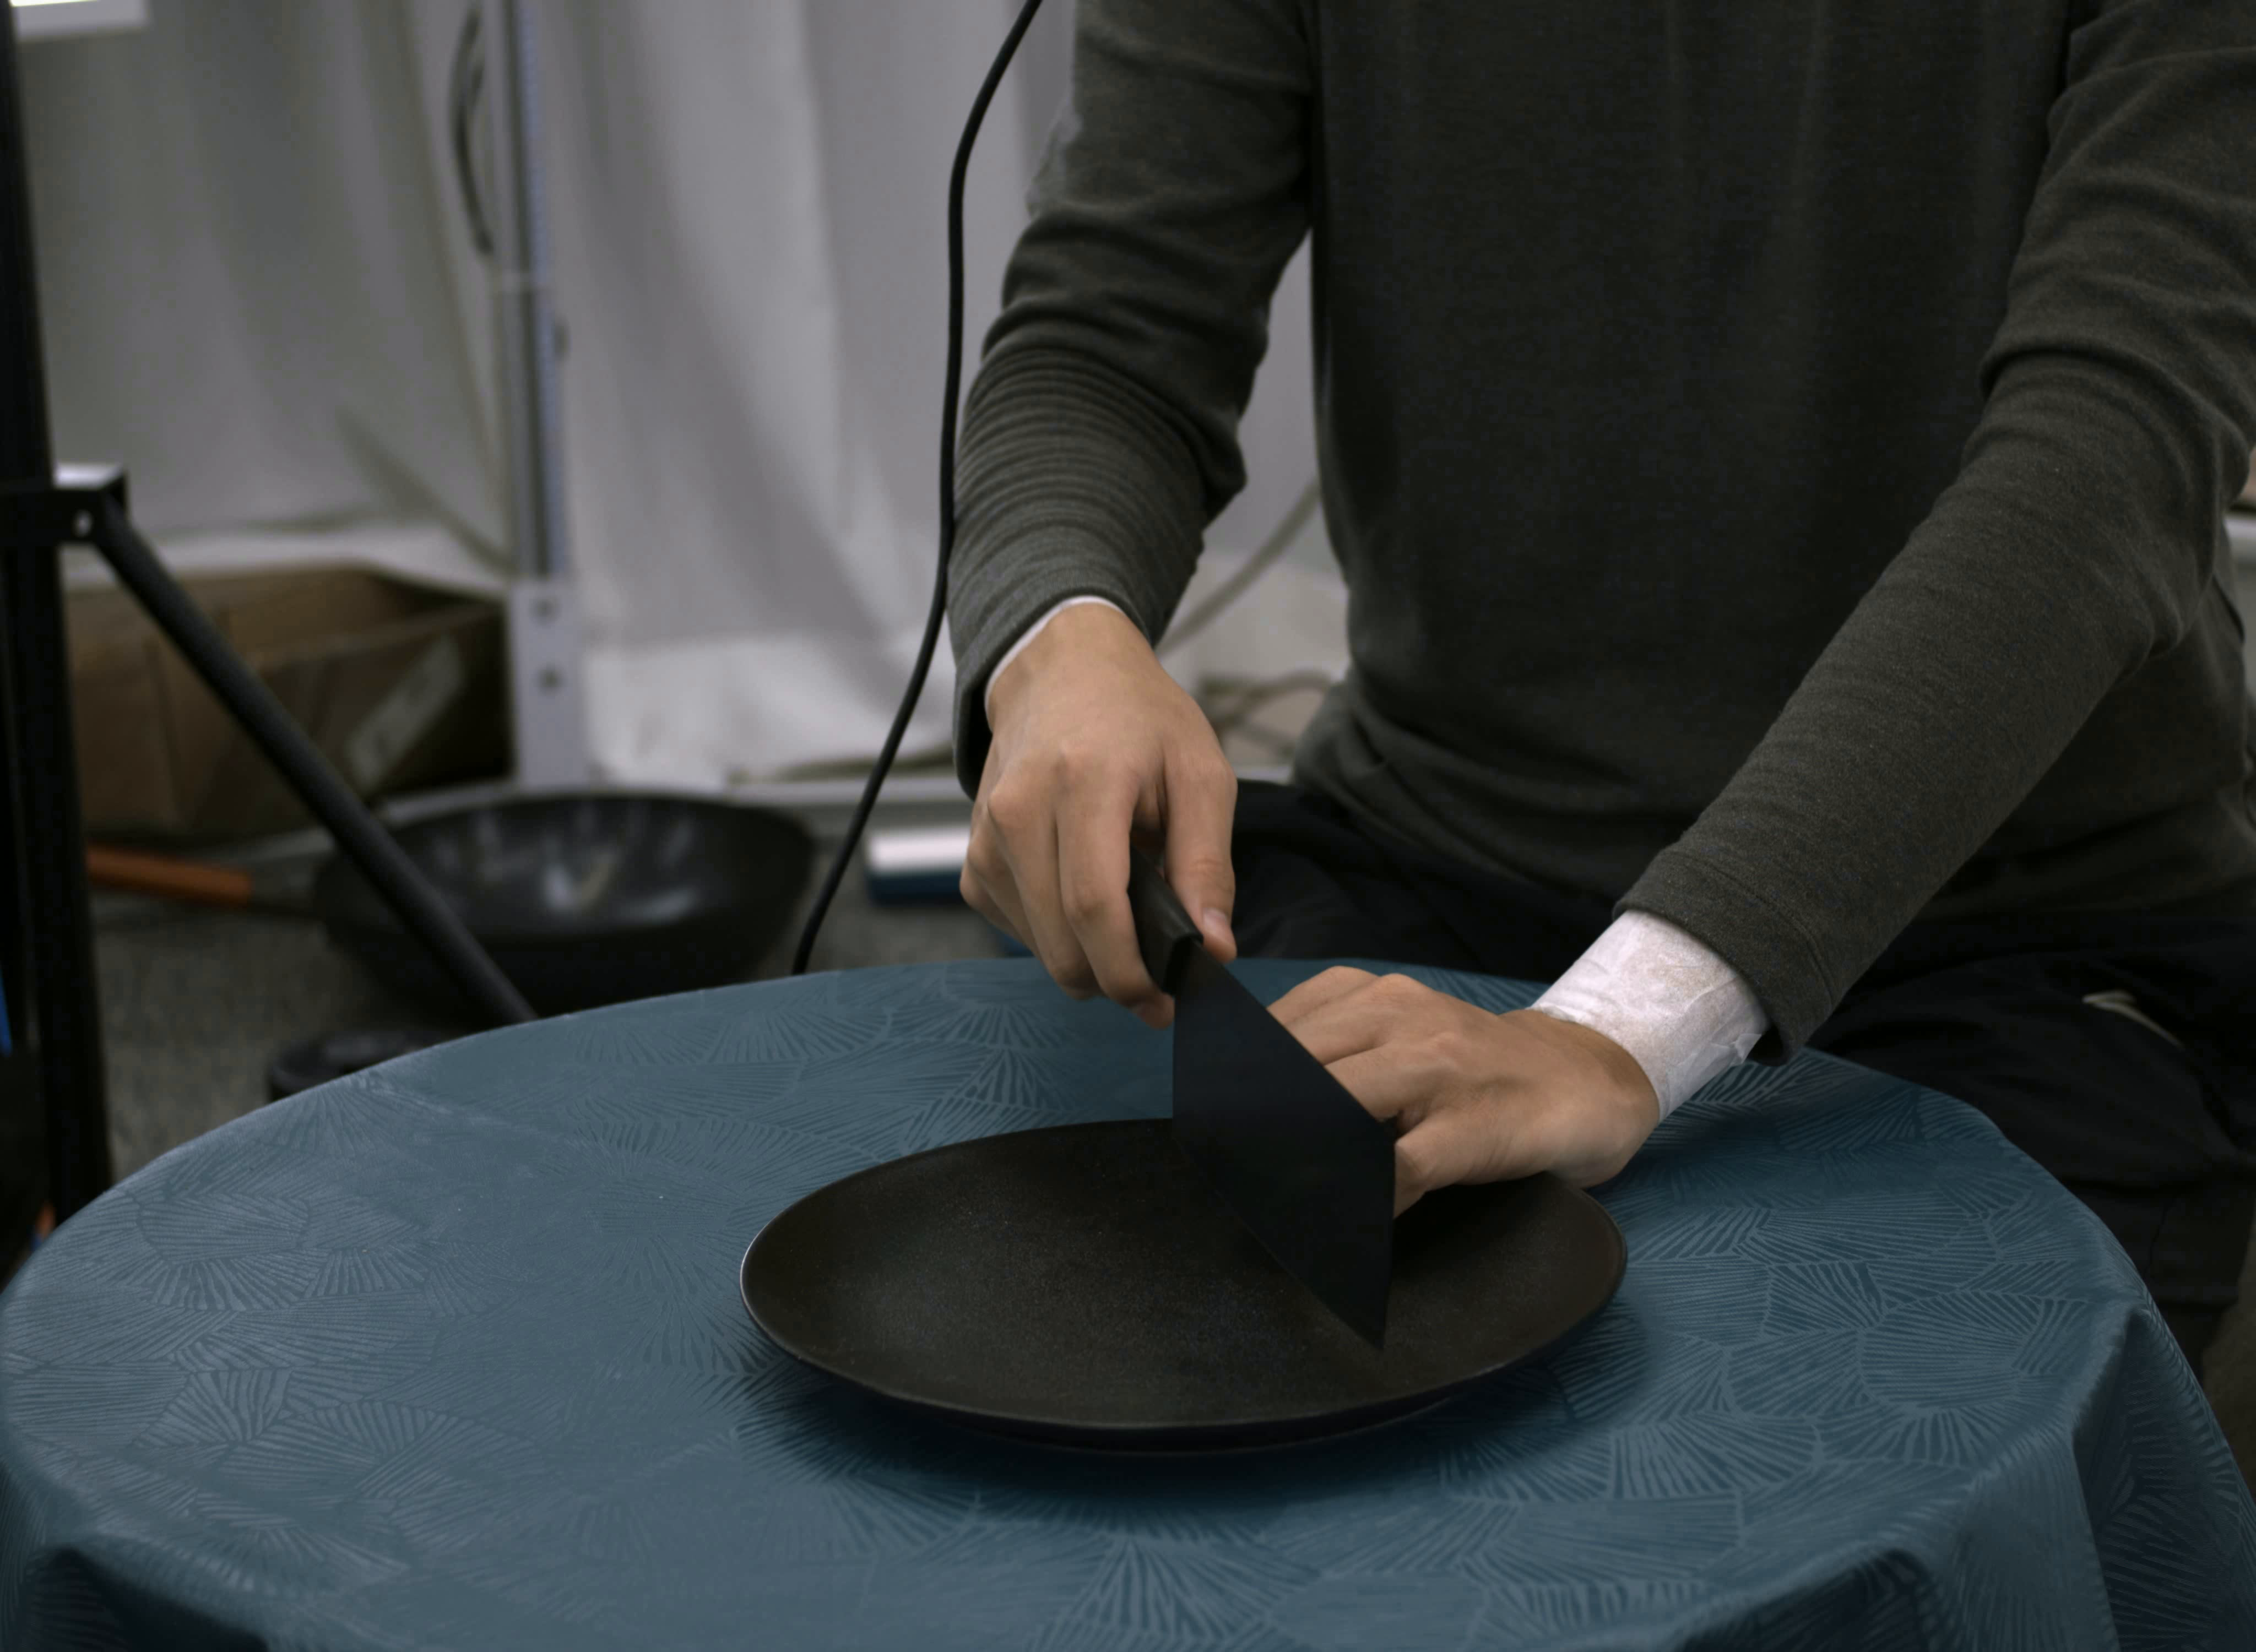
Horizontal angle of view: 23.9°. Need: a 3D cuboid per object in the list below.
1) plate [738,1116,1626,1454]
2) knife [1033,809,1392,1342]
[{"bbox_3d":[0.015,0.128,1.449,0.243,0.023,0.245,-2,16,-1],"label":"plate"},{"bbox_3d":[0.023,0.062,1.507,0.020,0.081,0.307,-2,21,-17],"label":"knife"}]
